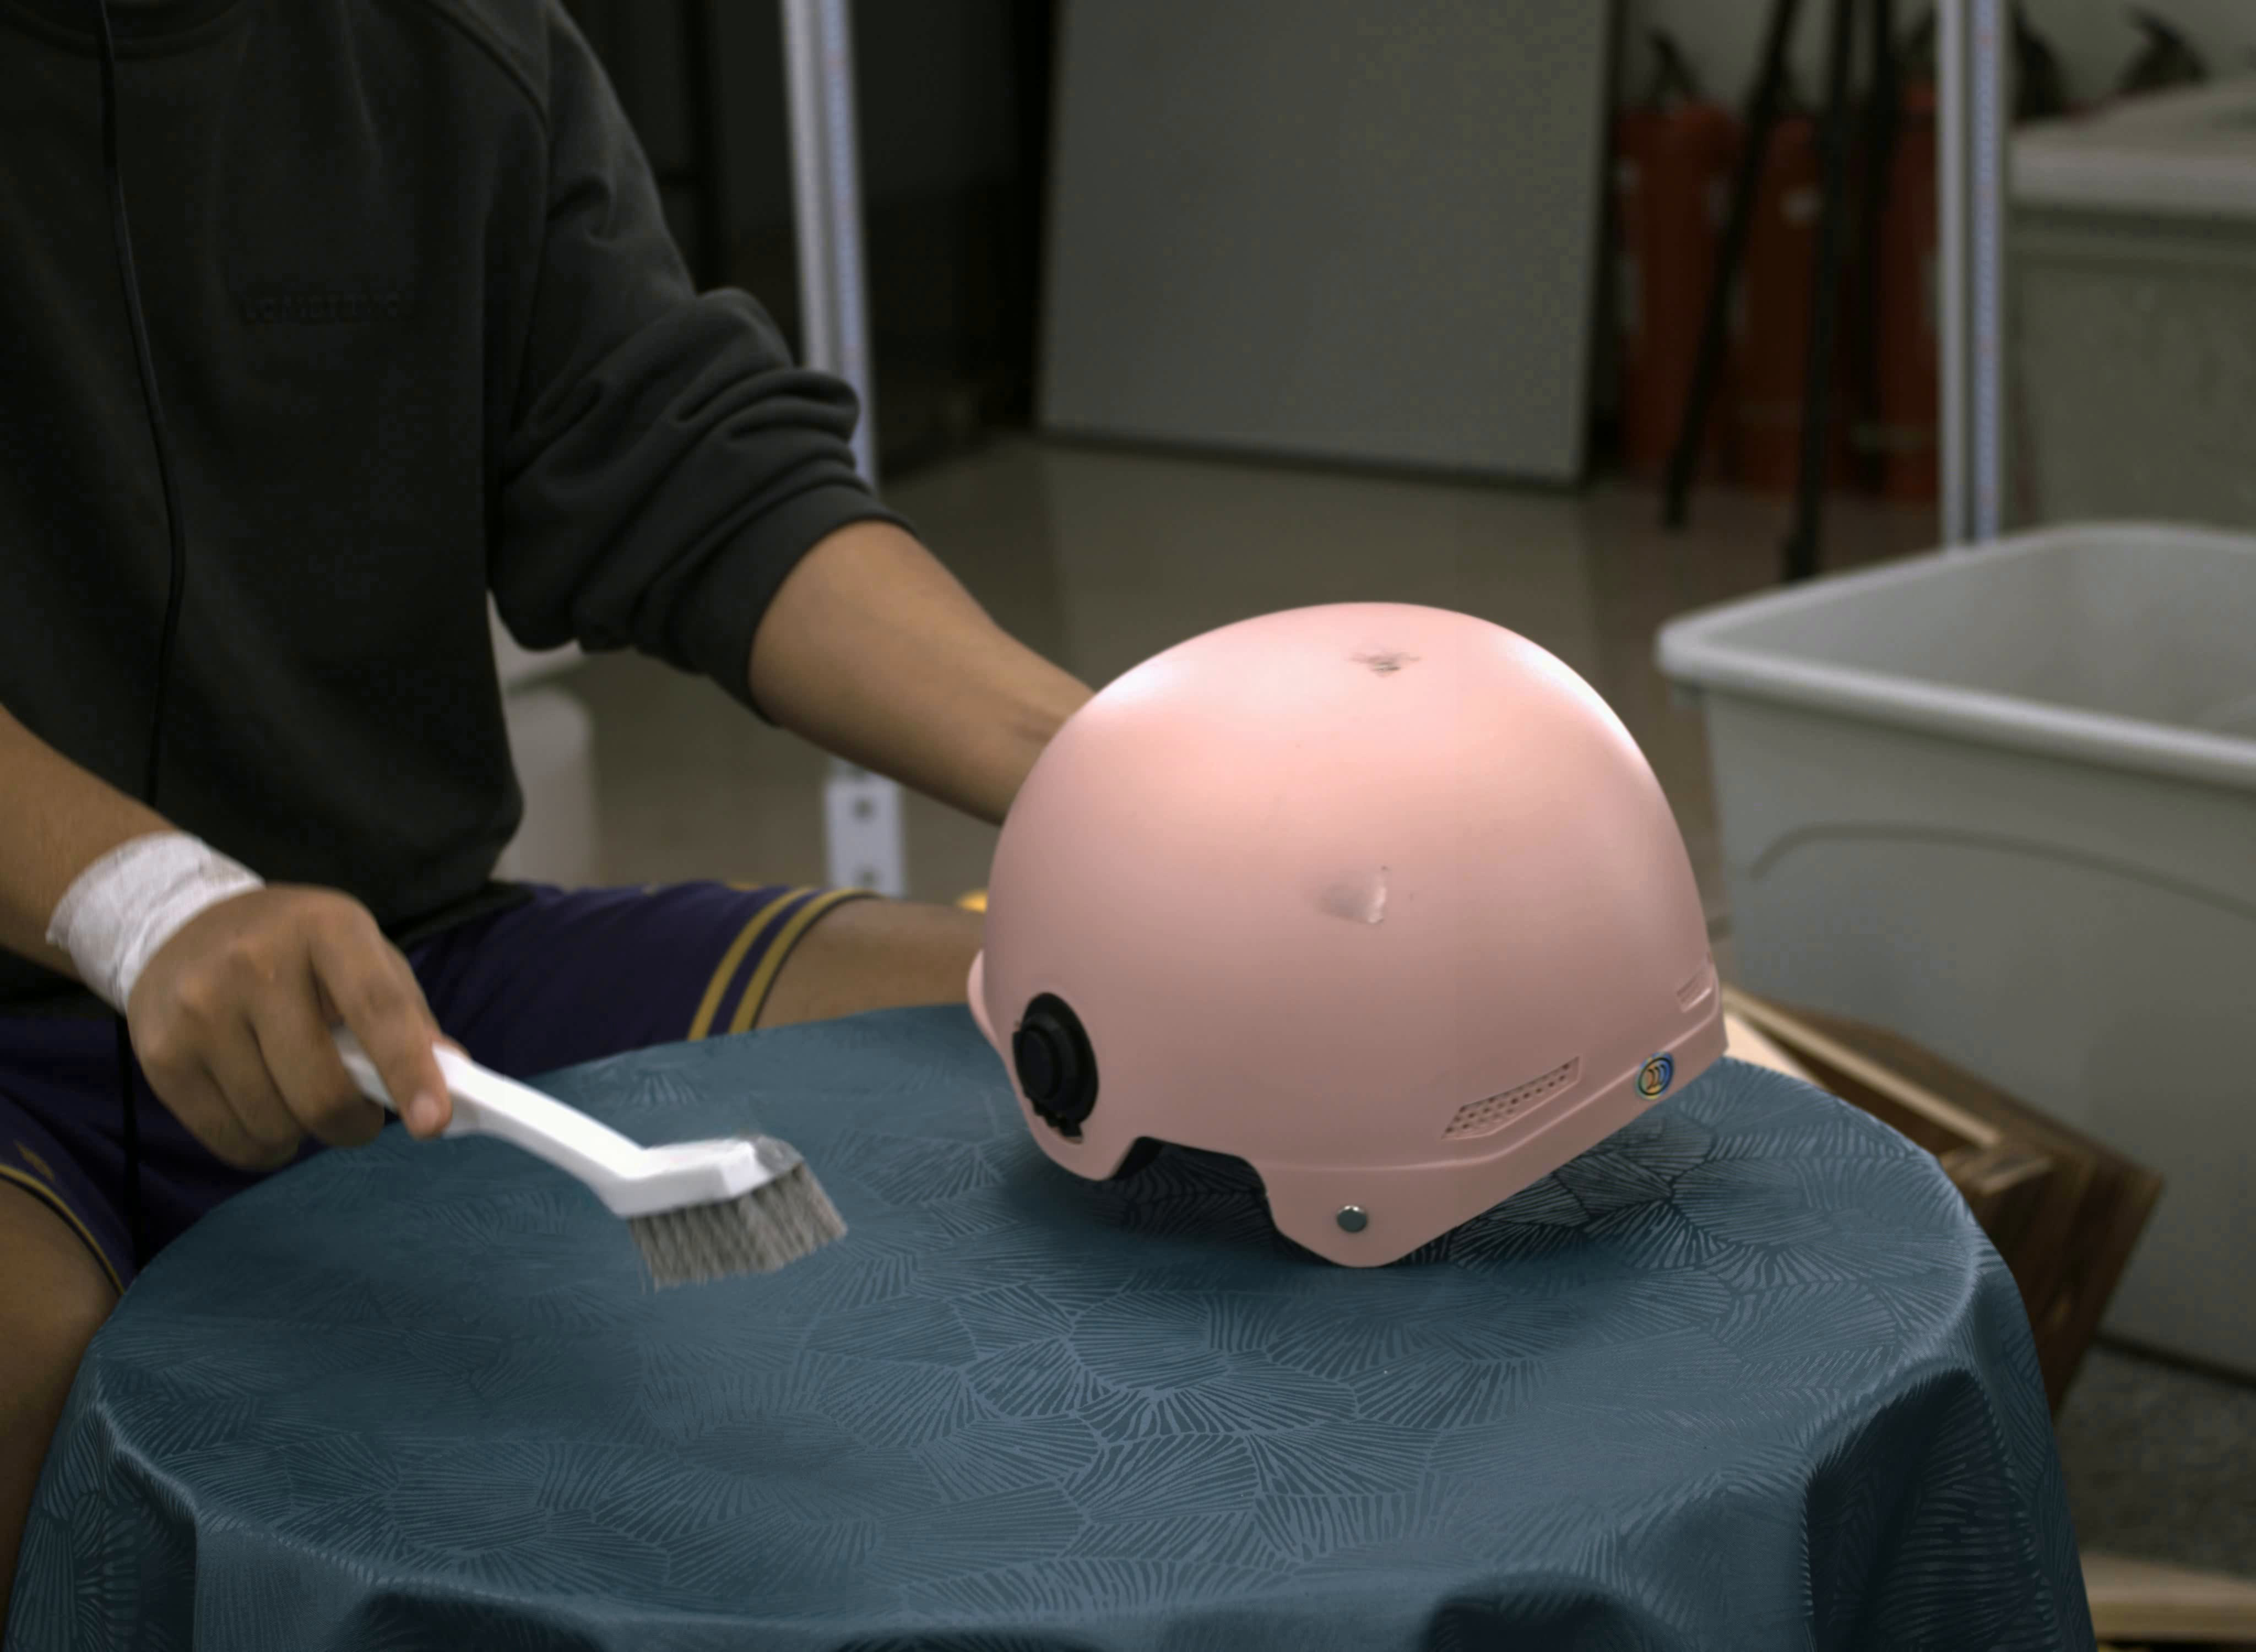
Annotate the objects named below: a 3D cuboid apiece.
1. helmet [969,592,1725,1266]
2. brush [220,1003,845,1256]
[{"bbox_3d":[0.062,0.009,1.748,0.268,0.160,0.230,20,39,41],"label":"helmet"},{"bbox_3d":[-0.175,0.088,1.557,0.246,0.050,0.034,7,25,42],"label":"brush"}]
